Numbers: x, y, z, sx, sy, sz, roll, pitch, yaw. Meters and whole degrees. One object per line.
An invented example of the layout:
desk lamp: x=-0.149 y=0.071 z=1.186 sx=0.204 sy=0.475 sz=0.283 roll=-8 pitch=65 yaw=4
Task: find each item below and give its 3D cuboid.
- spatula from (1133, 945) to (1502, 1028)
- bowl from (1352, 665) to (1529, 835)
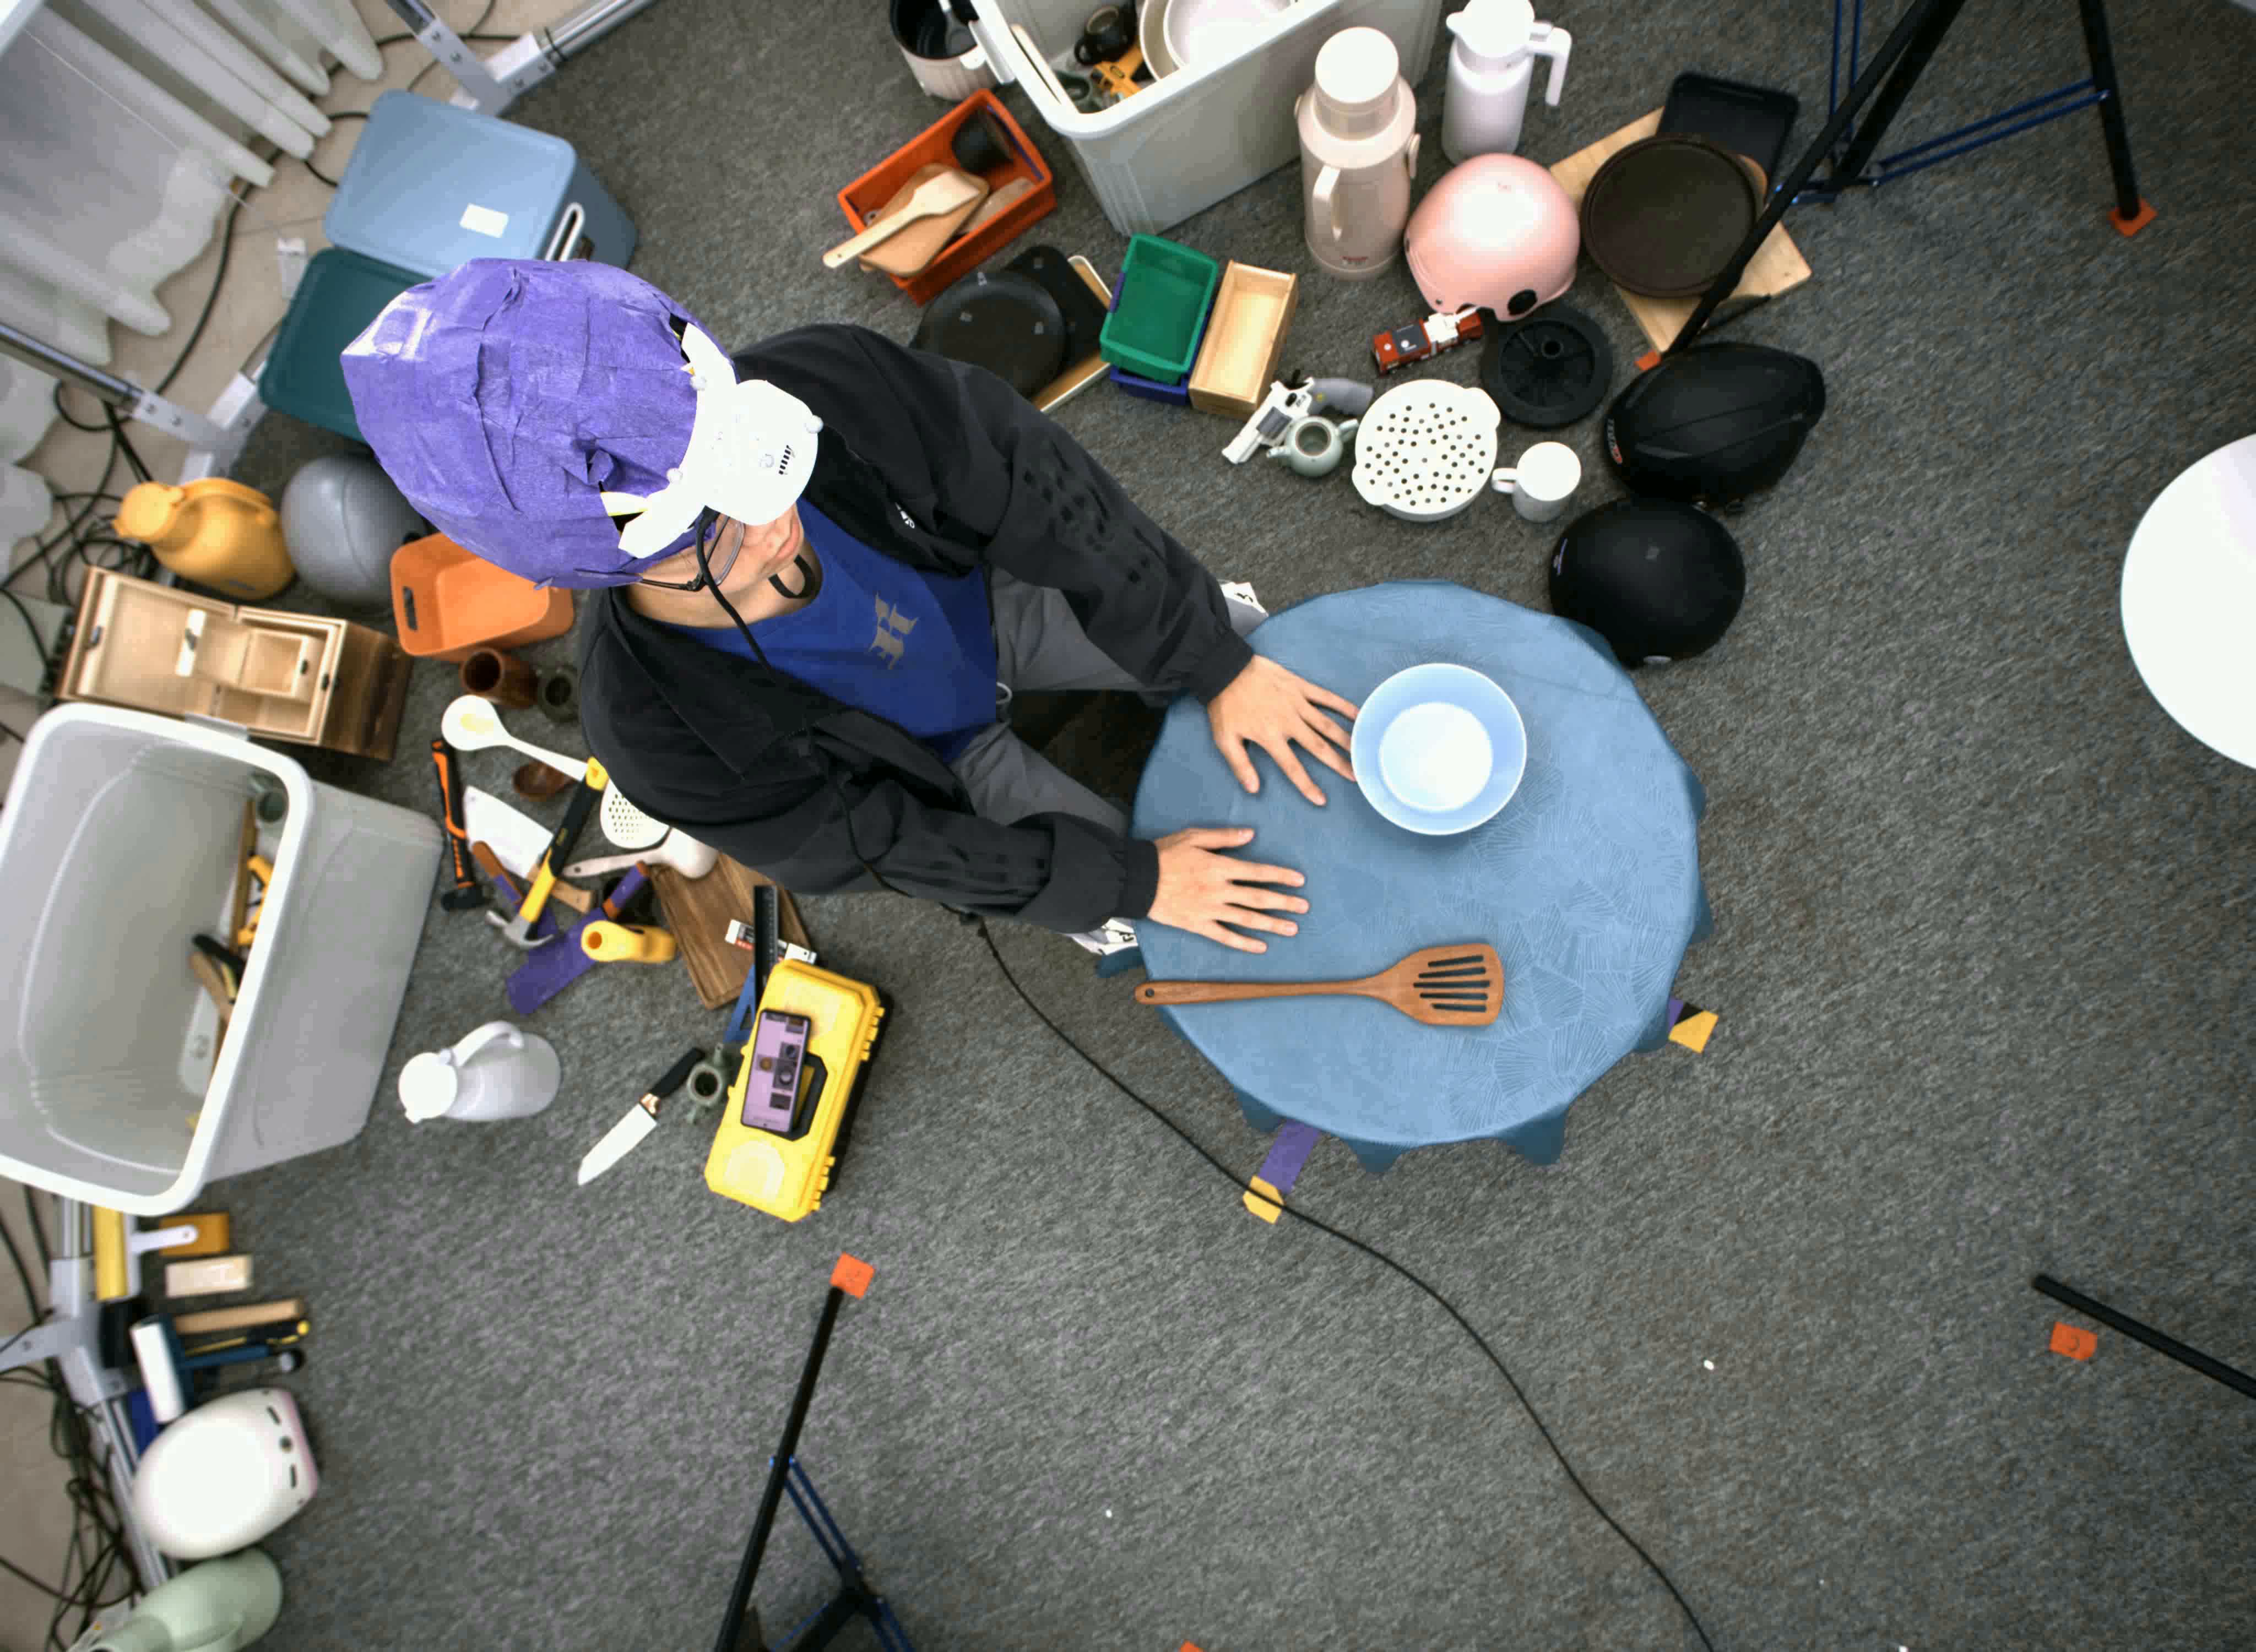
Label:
spatula: x=0.195 y=0.169 z=1.457 sx=0.388 sy=0.024 sz=0.085 roll=-2 pitch=86 yaw=12
bowl: x=0.321 y=-0.076 z=1.420 sx=0.177 sy=0.070 sz=0.175 roll=-1 pitch=86 yaw=12
